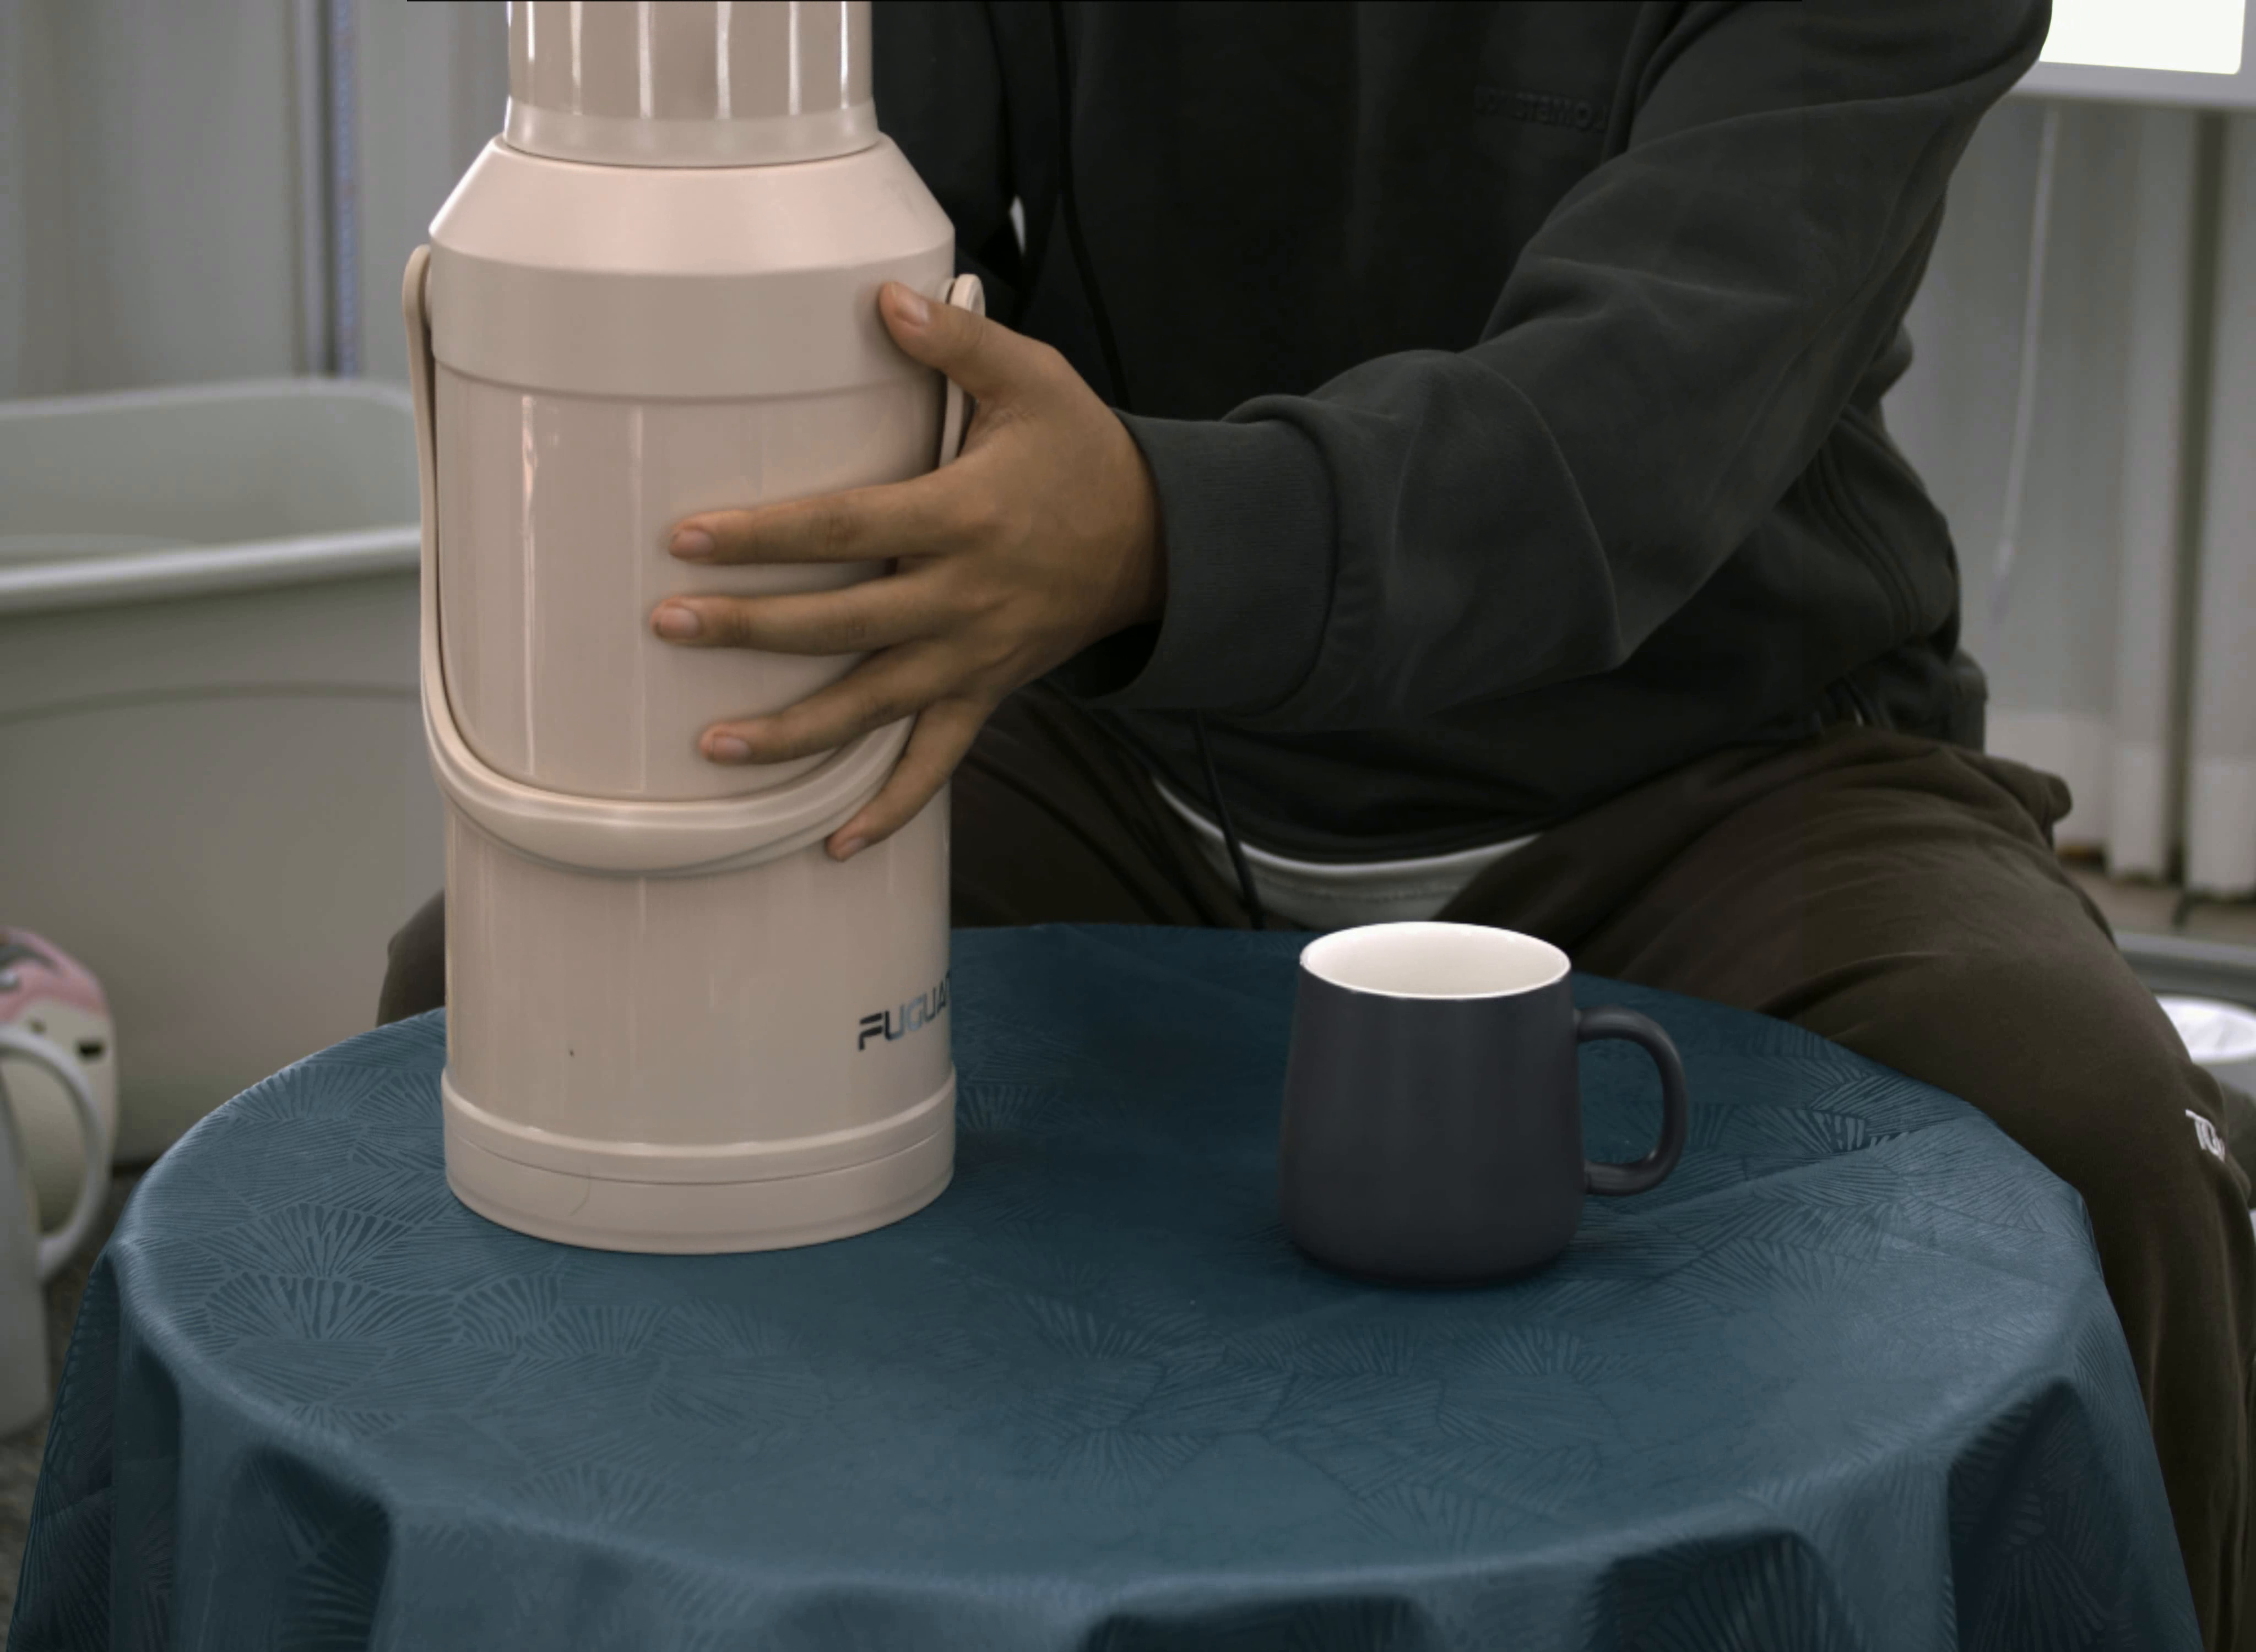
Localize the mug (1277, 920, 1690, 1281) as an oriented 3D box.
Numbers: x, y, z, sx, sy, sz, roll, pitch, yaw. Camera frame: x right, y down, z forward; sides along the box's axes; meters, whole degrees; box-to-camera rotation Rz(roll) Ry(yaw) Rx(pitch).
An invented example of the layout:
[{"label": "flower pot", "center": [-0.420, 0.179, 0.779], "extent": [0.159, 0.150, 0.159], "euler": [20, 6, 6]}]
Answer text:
[{"label": "mug", "center": [0.106, 0.082, 1.569], "extent": [0.123, 0.090, 0.093], "euler": [1, 16, 2]}]

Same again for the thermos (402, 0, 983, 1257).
[{"label": "thermos", "center": [-0.127, -0.088, 1.595], "extent": [0.174, 0.410, 0.207], "euler": [4, 17, 12]}]
